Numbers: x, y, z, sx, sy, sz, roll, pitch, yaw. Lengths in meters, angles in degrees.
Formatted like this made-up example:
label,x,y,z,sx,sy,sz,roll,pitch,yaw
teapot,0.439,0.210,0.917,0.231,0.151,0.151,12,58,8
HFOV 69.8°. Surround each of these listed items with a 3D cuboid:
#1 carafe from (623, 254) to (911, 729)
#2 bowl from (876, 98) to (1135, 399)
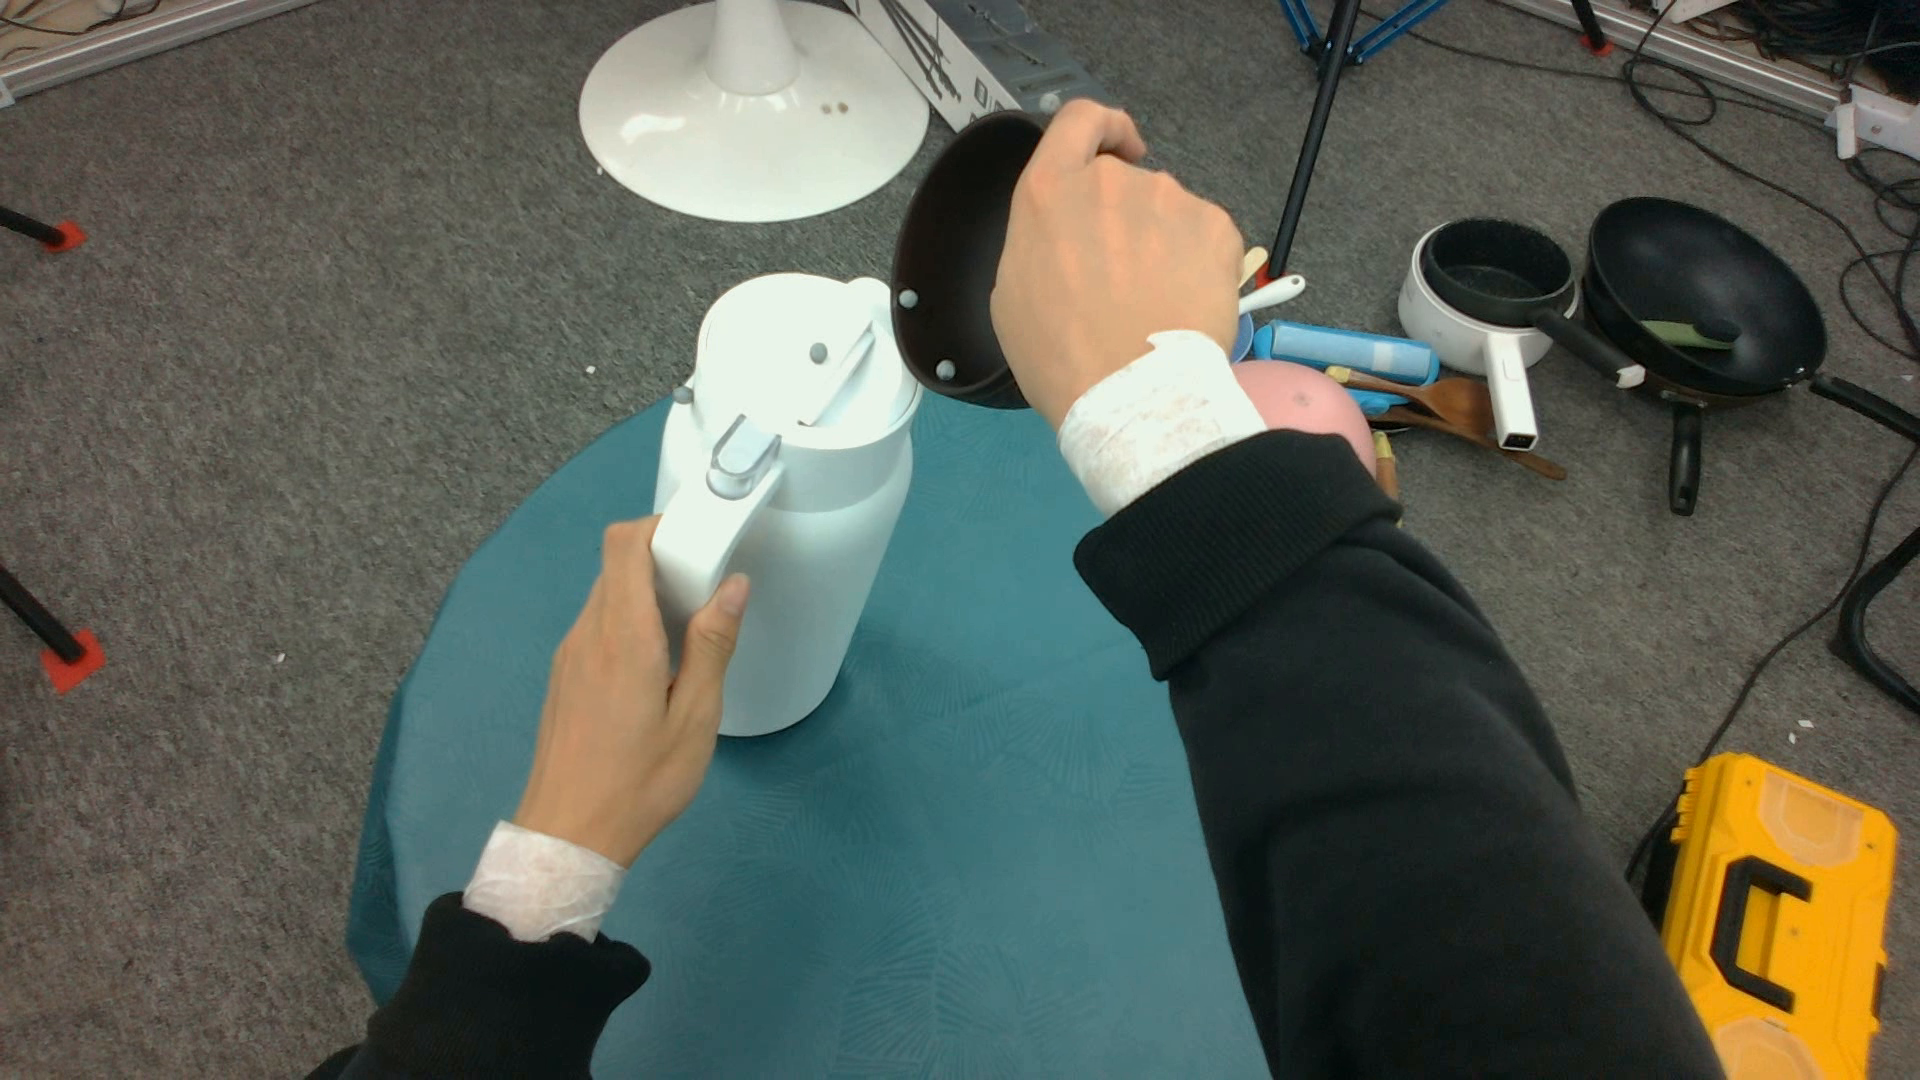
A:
label,x,y,z,sx,sy,sz,roll,pitch,yaw
carafe,-0.107,0.001,0.684,0.124,0.267,0.174,28,53,-1
bowl,0.026,-0.115,0.569,0.070,0.117,0.118,9,46,-38
